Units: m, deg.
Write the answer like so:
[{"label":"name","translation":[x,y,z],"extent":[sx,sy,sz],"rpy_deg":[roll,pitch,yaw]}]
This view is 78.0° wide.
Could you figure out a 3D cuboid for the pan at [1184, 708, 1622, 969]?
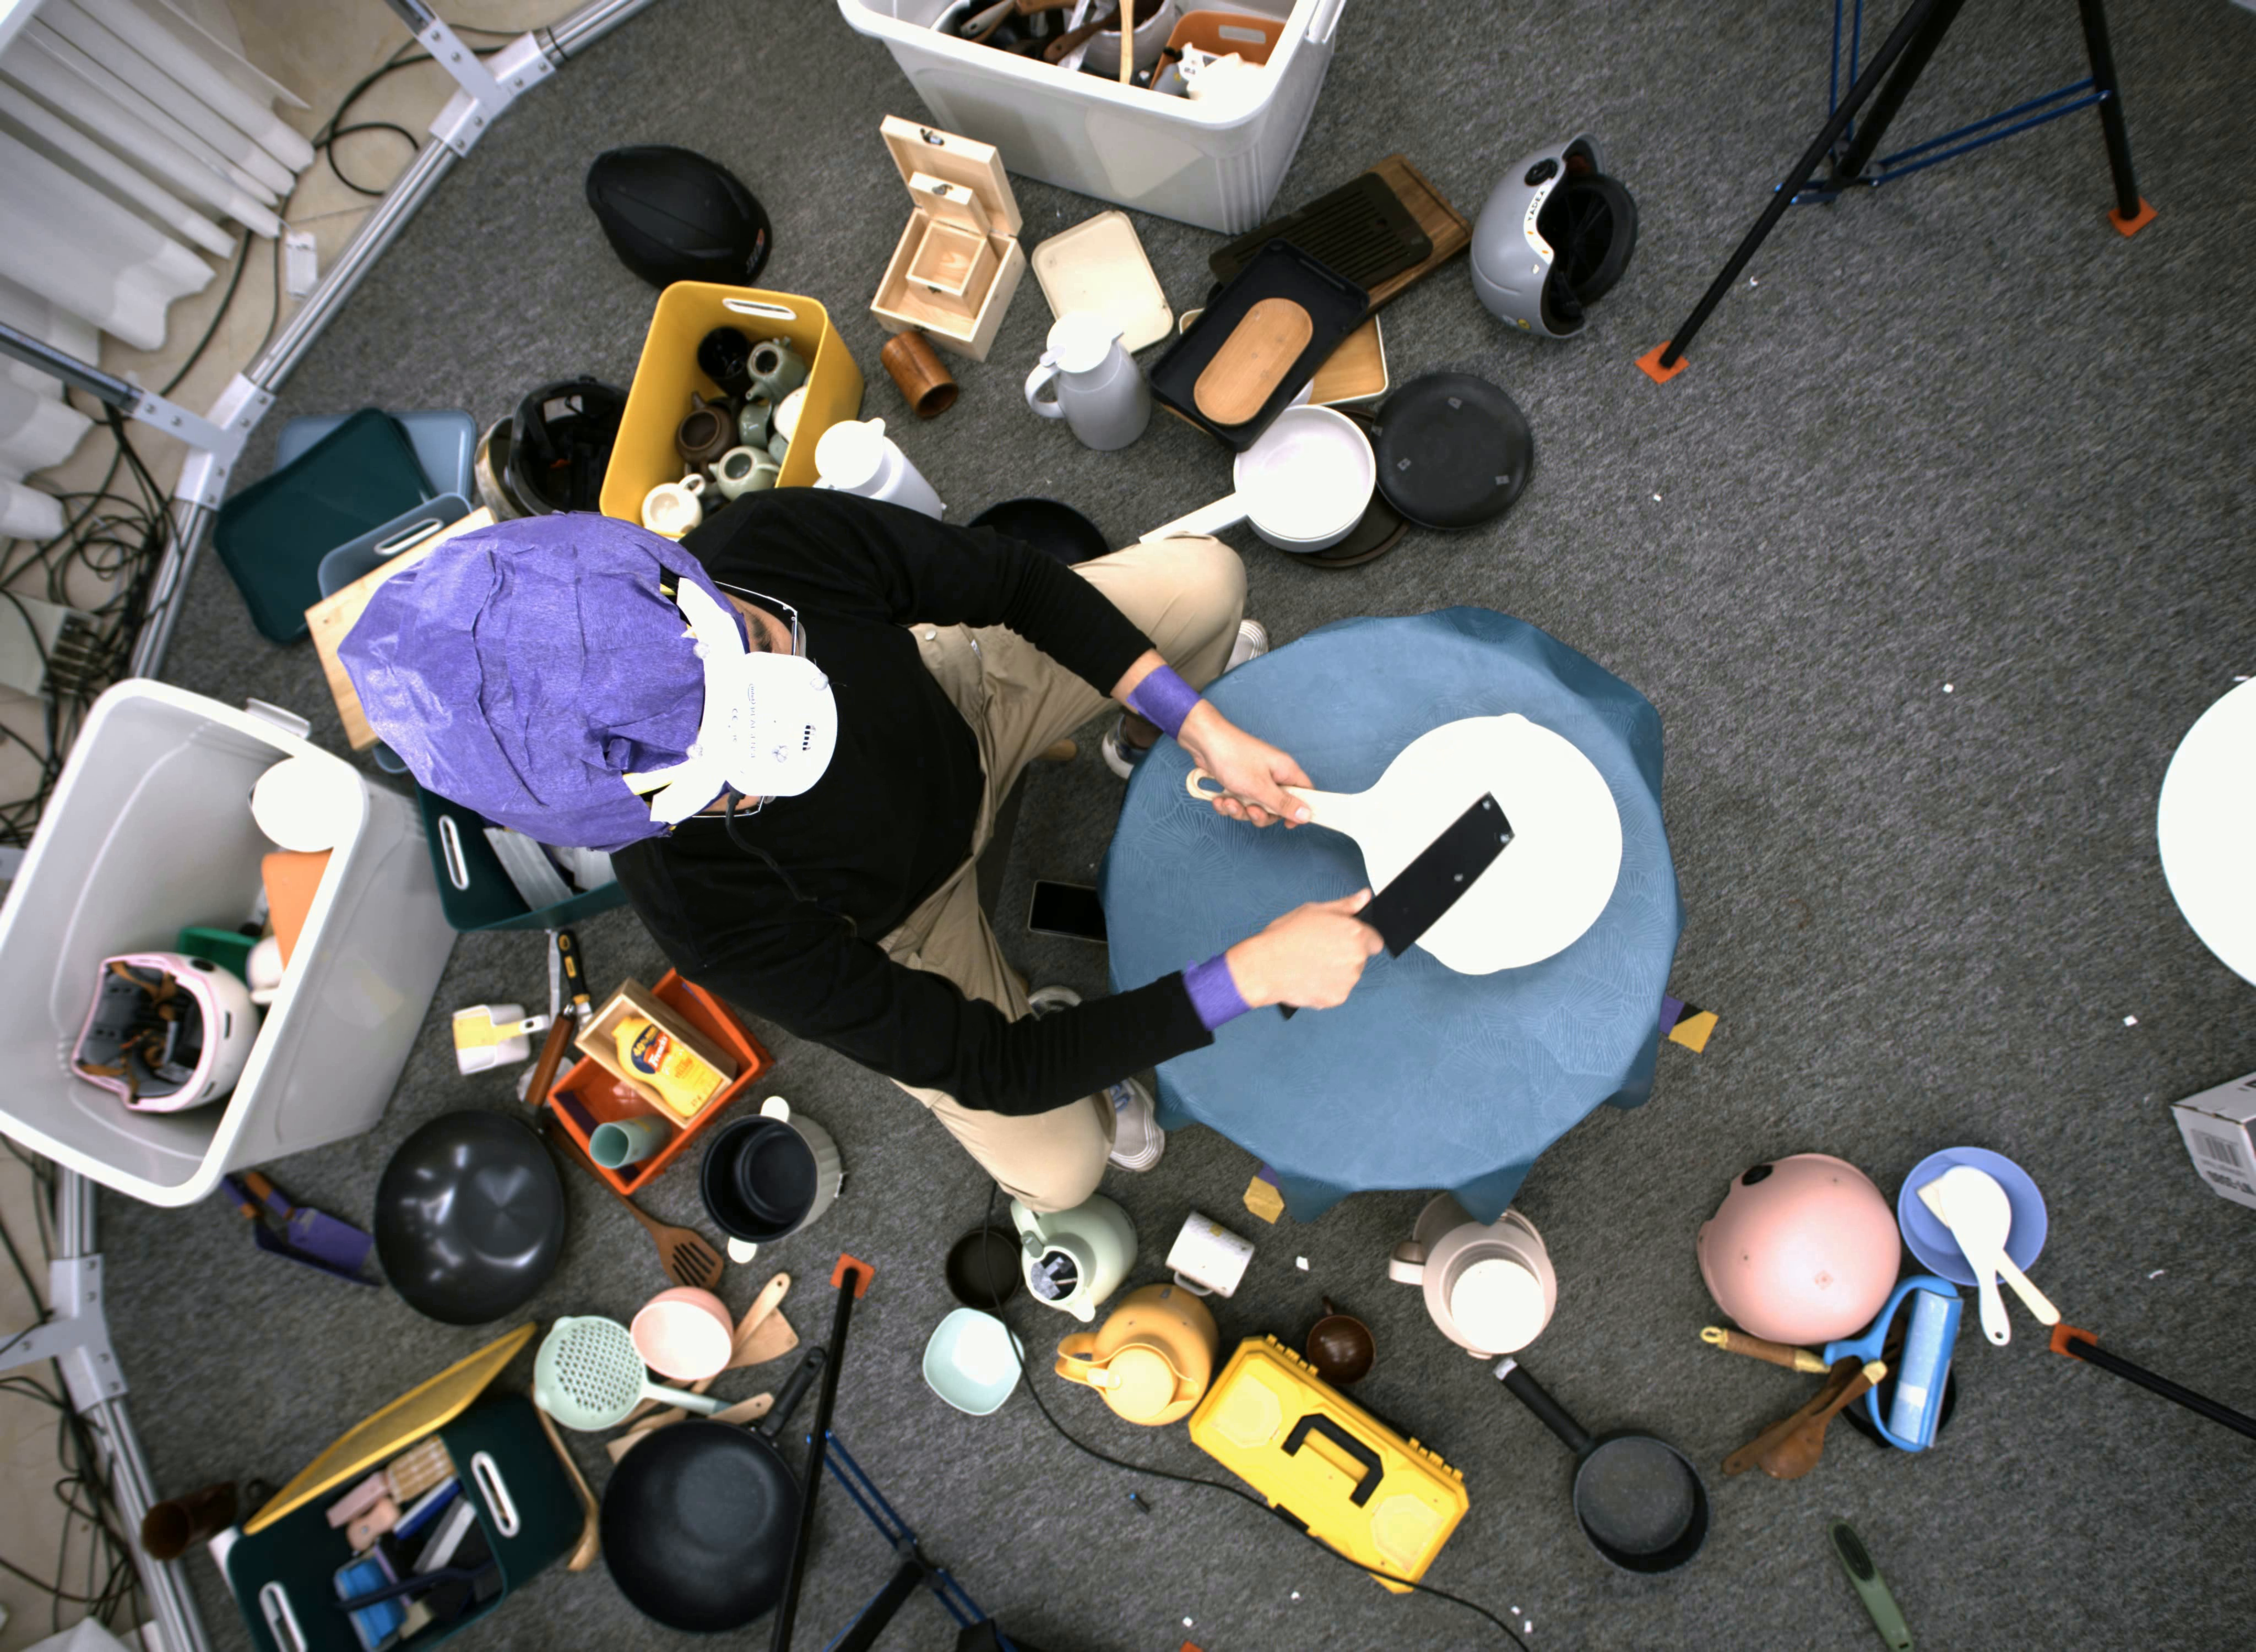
[{"label":"pan","translation":[0.277,-0.005,1.413],"extent":[0.436,0.102,0.263],"rpy_deg":[11,90,11]}]

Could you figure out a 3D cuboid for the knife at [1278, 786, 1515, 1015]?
[{"label":"knife","translation":[0.256,0.074,1.302],"extent":[0.299,0.021,0.082],"rpy_deg":[-37,112,-14]}]
